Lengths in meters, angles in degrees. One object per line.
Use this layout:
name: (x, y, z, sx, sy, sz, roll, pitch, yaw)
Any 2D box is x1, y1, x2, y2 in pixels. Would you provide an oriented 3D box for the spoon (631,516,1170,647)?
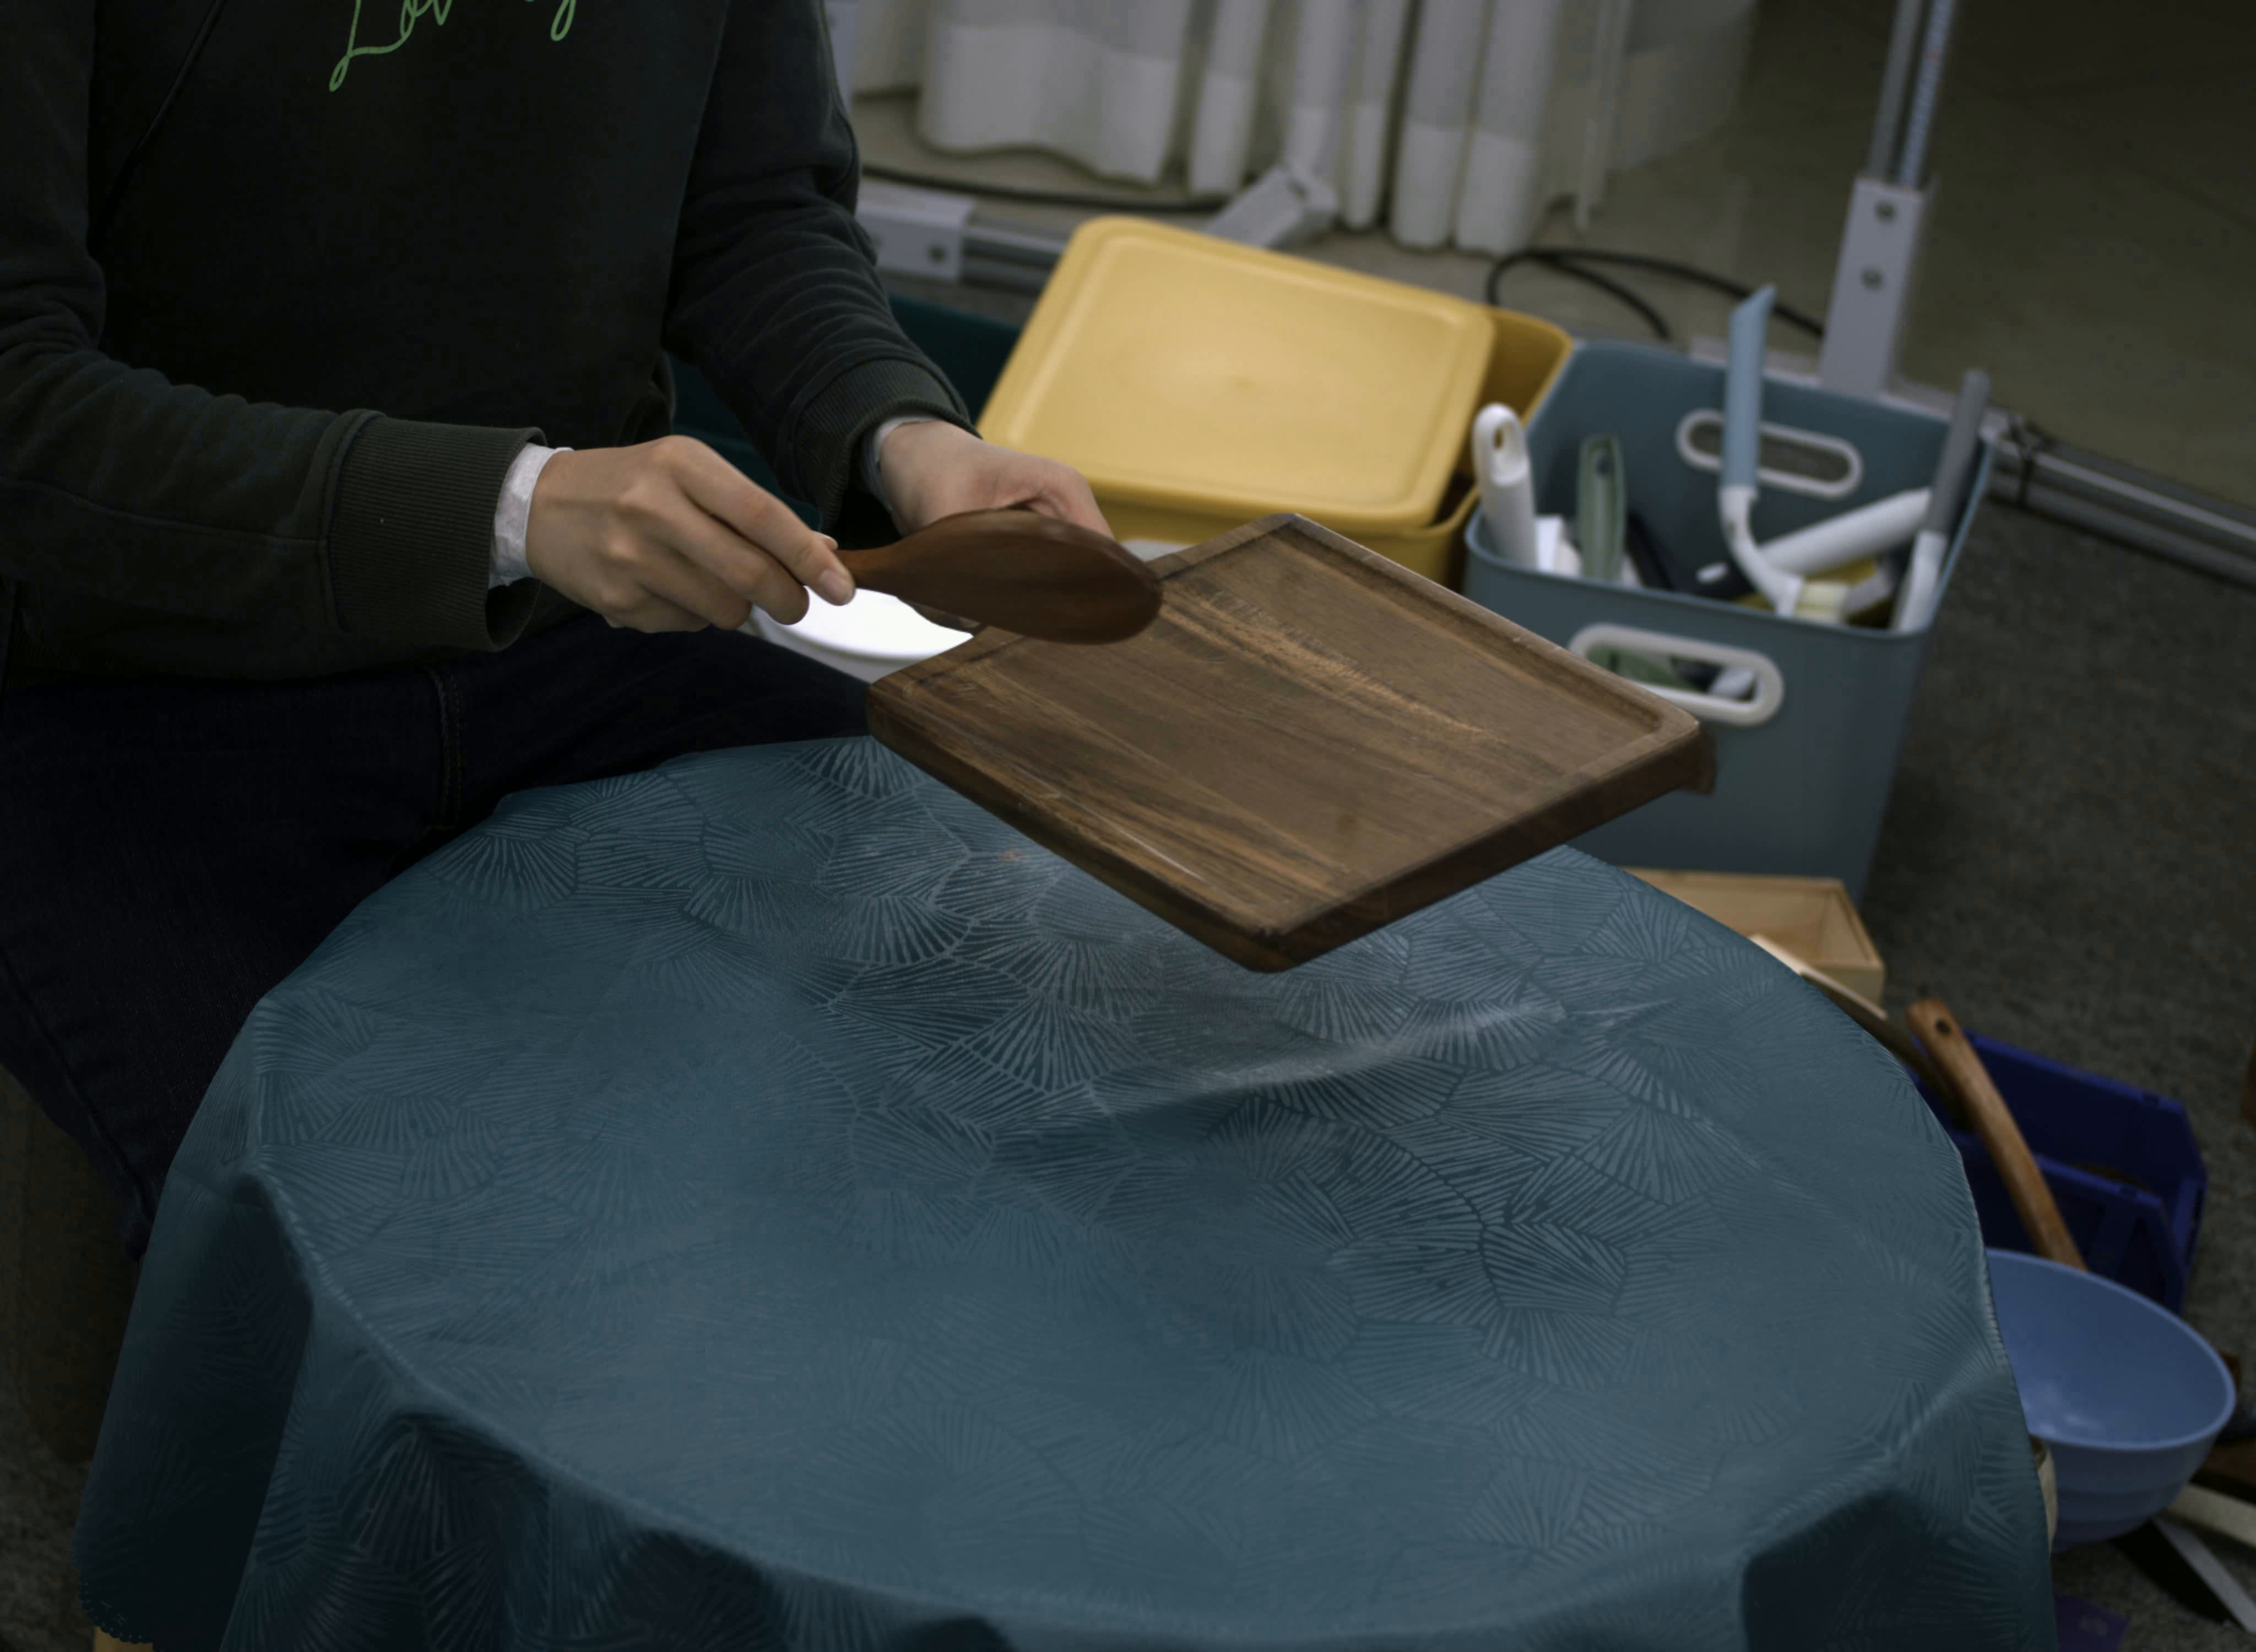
spoon: (-0.084, -0.087, 1.867, 0.217, 0.075, 0.017, 6, 62, 30)

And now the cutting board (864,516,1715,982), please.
cutting board: (0.025, -0.049, 1.905, 0.200, 0.023, 0.355, -25, 33, -26)
